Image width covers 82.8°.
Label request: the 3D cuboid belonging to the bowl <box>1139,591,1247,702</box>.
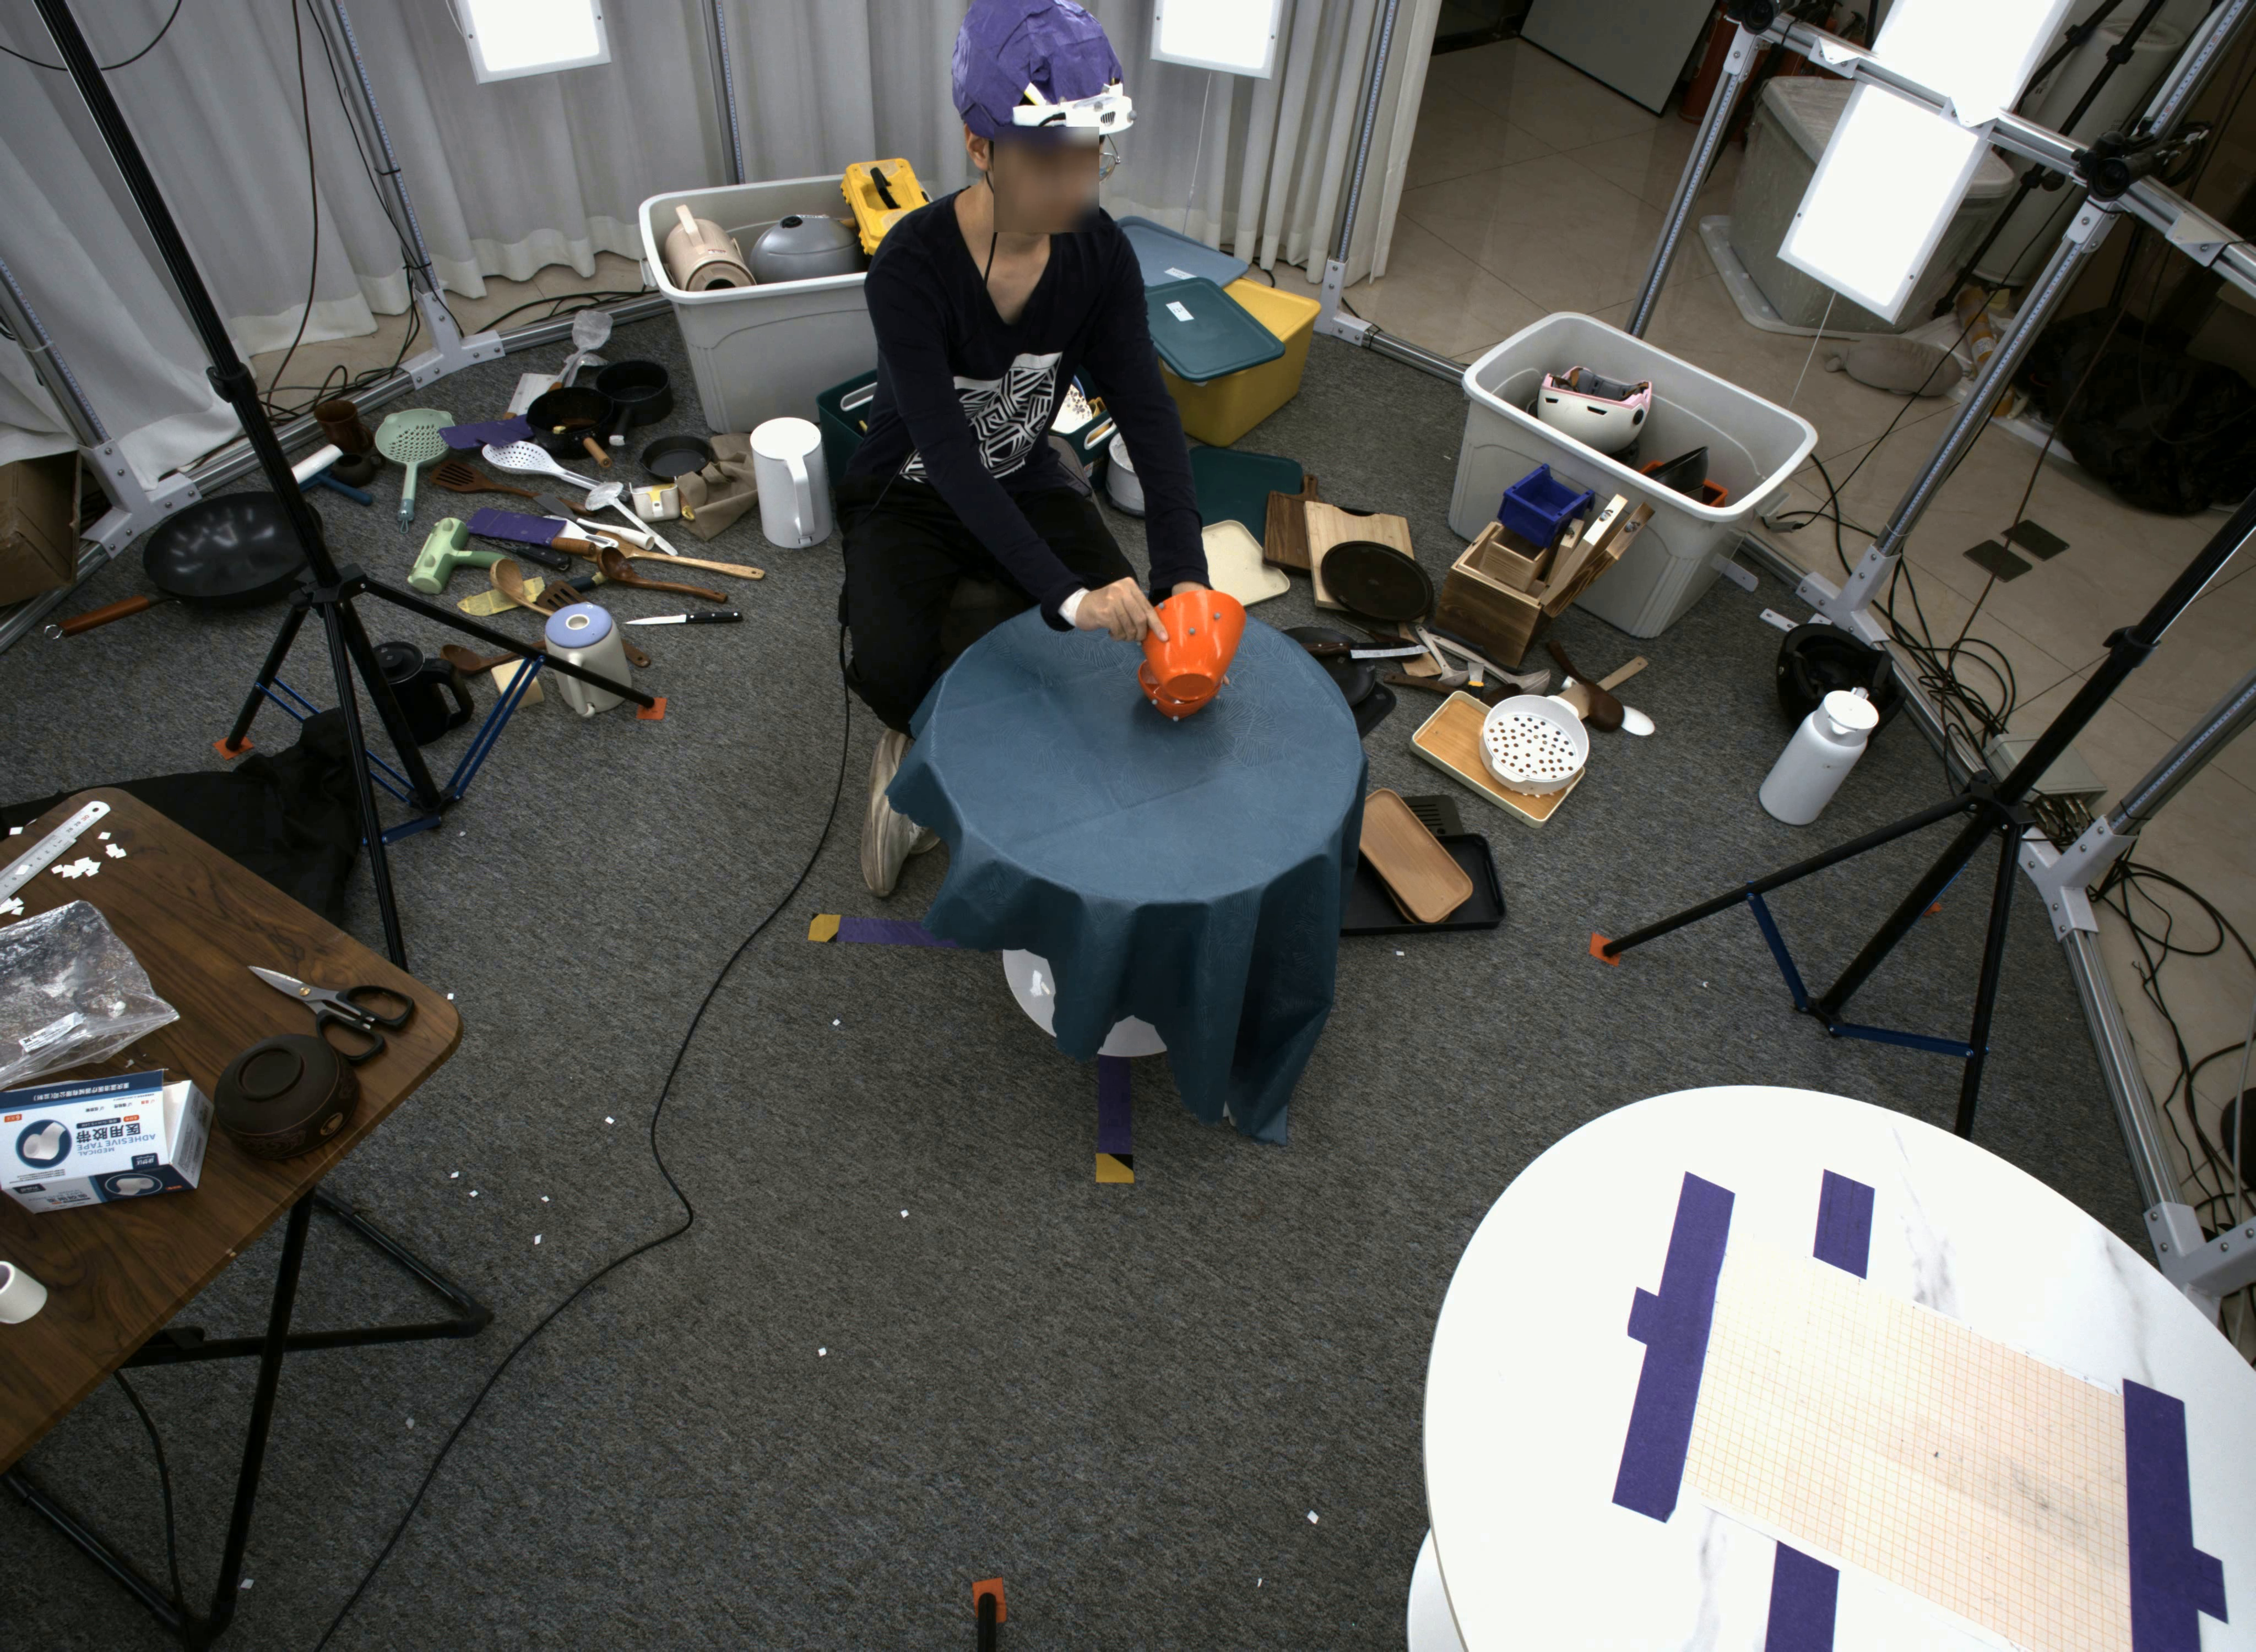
[{"bbox_3d":[0.090,-0.232,1.728,0.148,0.145,0.107,0,62,-4],"label":"bowl"}]

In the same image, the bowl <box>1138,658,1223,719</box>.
[{"bbox_3d":[0.072,-0.197,1.809,0.119,0.050,0.122,1,51,-2],"label":"bowl"}]
